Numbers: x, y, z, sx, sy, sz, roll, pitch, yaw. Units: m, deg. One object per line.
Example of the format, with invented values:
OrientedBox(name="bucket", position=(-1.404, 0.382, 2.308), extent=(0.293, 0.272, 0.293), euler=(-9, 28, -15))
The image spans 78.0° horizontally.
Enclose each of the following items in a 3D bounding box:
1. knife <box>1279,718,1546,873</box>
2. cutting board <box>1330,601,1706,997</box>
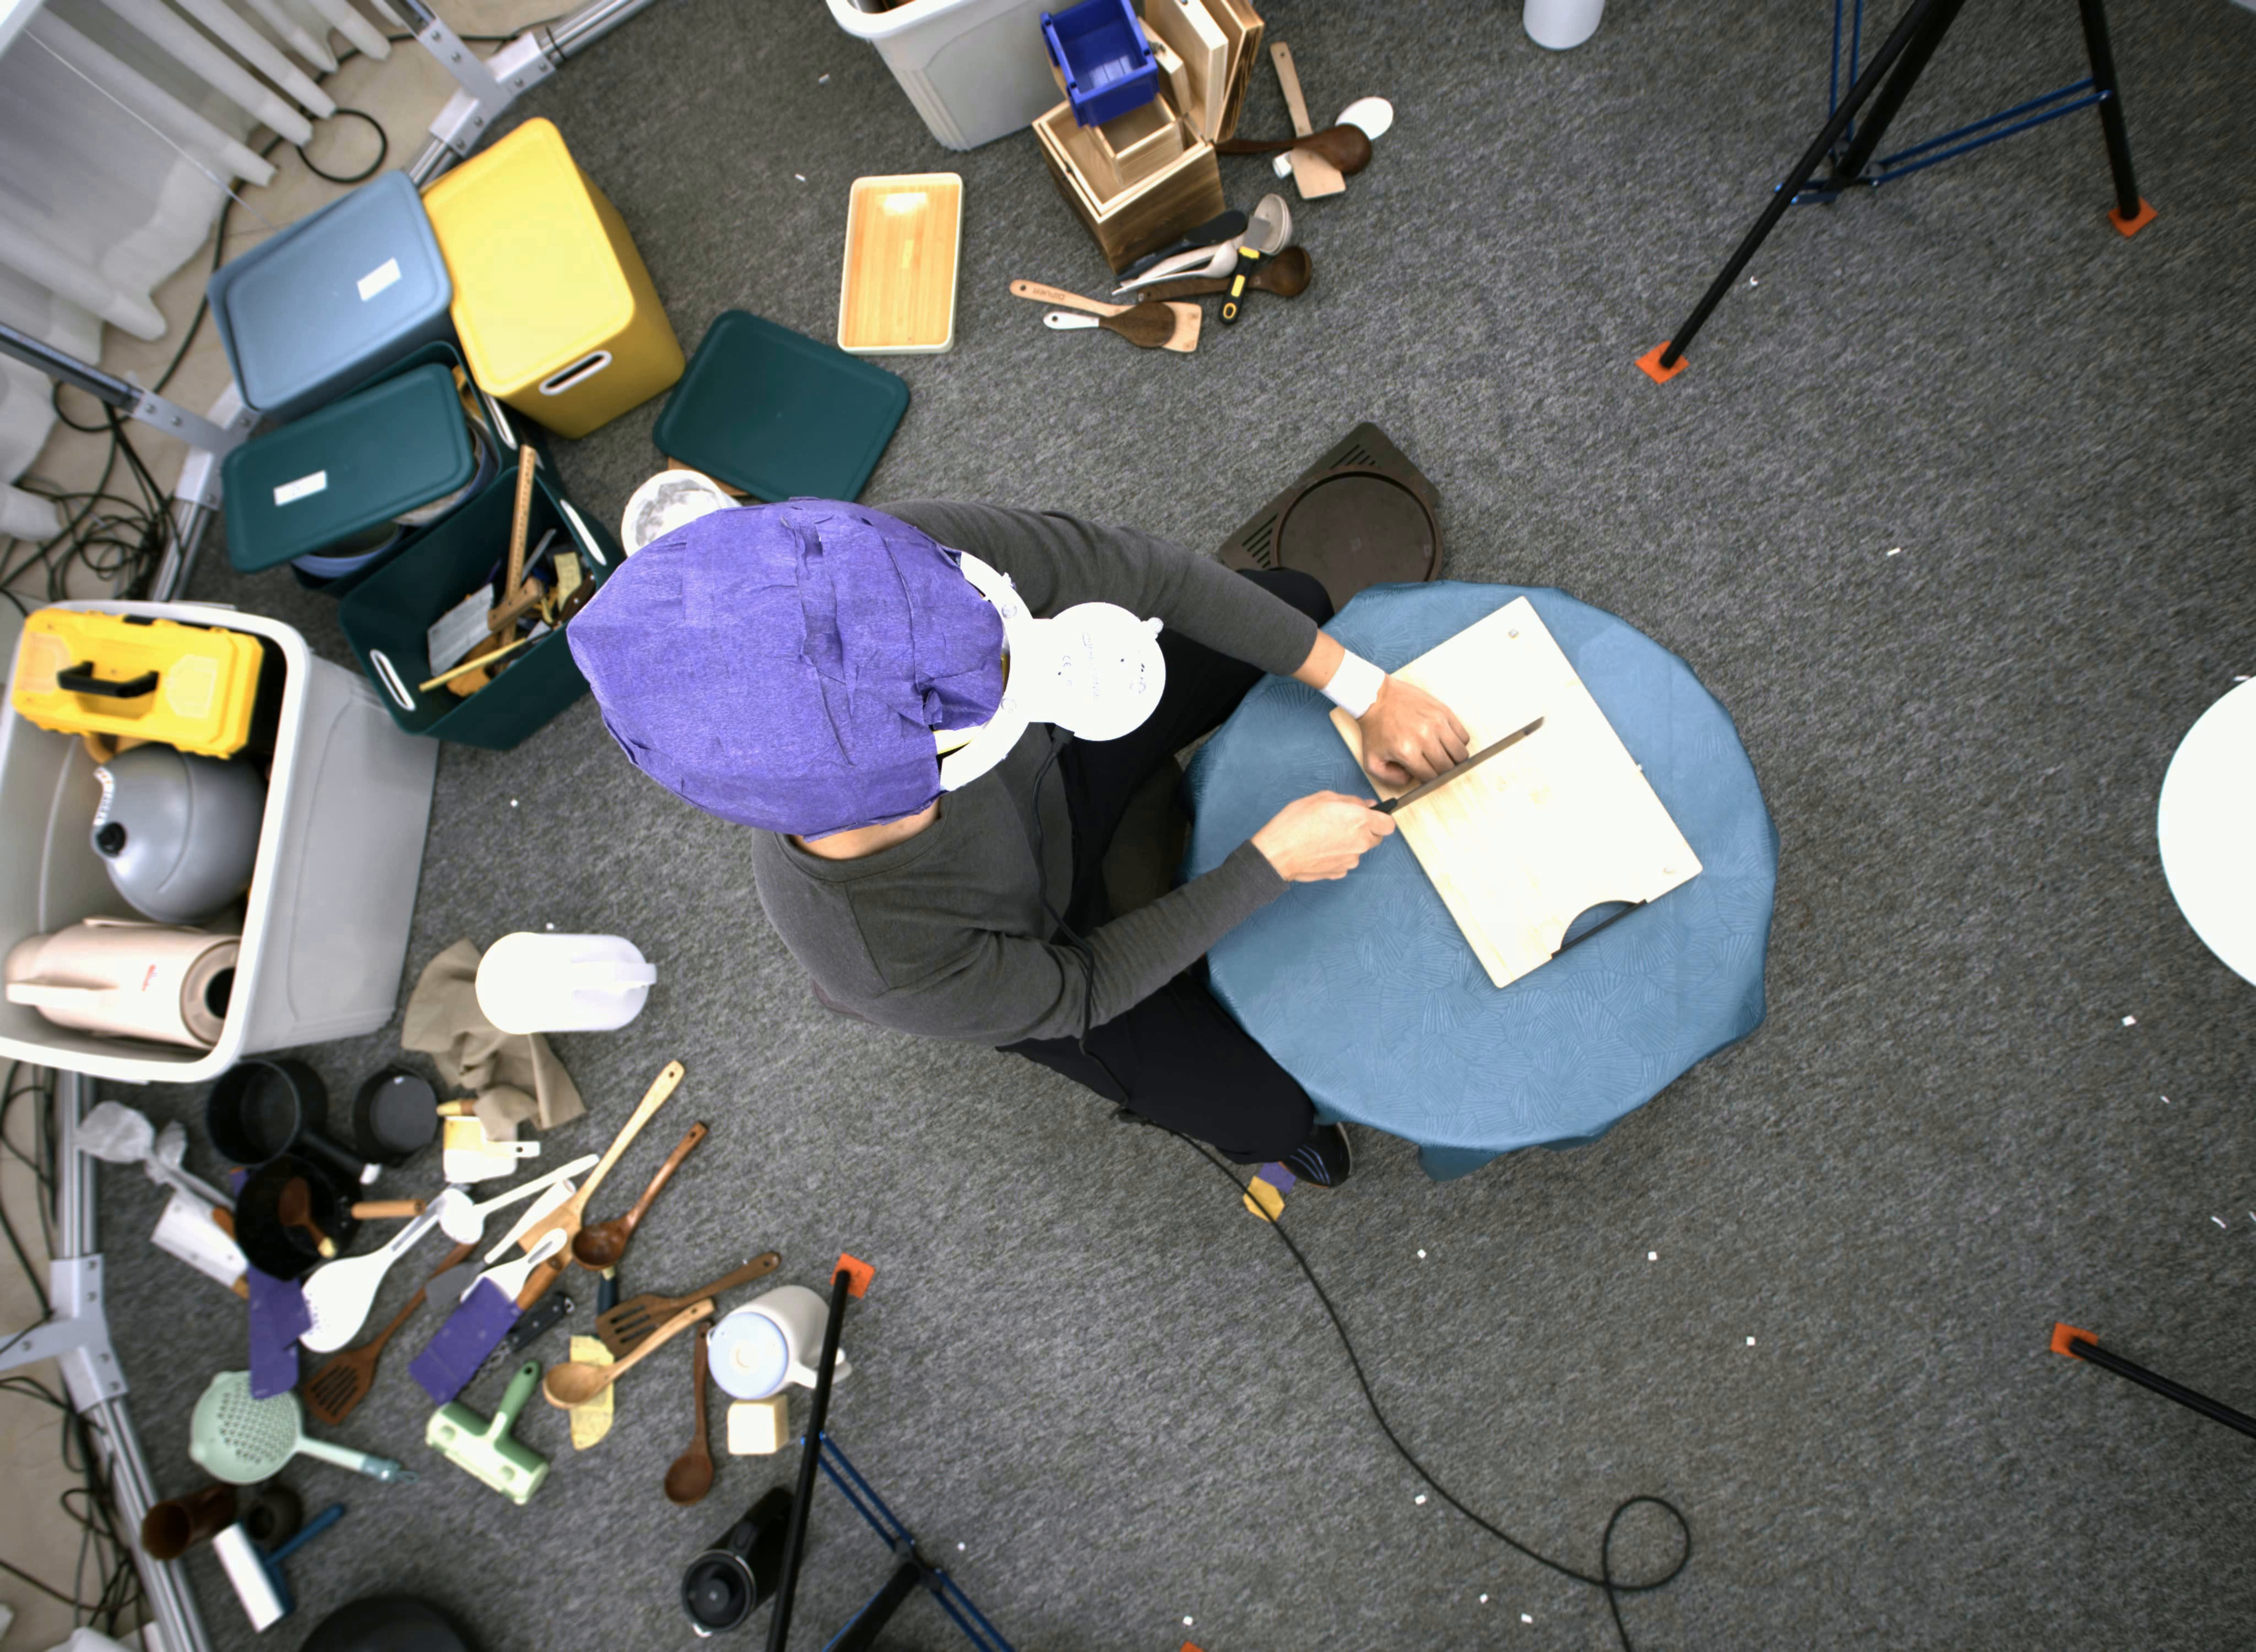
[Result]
OrientedBox(name="knife", position=(0.287, -0.032, 1.387), extent=(0.303, 0.081, 0.020), euler=(-28, 76, 2))
OrientedBox(name="cutting board", position=(0.402, -0.035, 1.433), extent=(0.252, 0.023, 0.346), euler=(-32, 81, 8))
